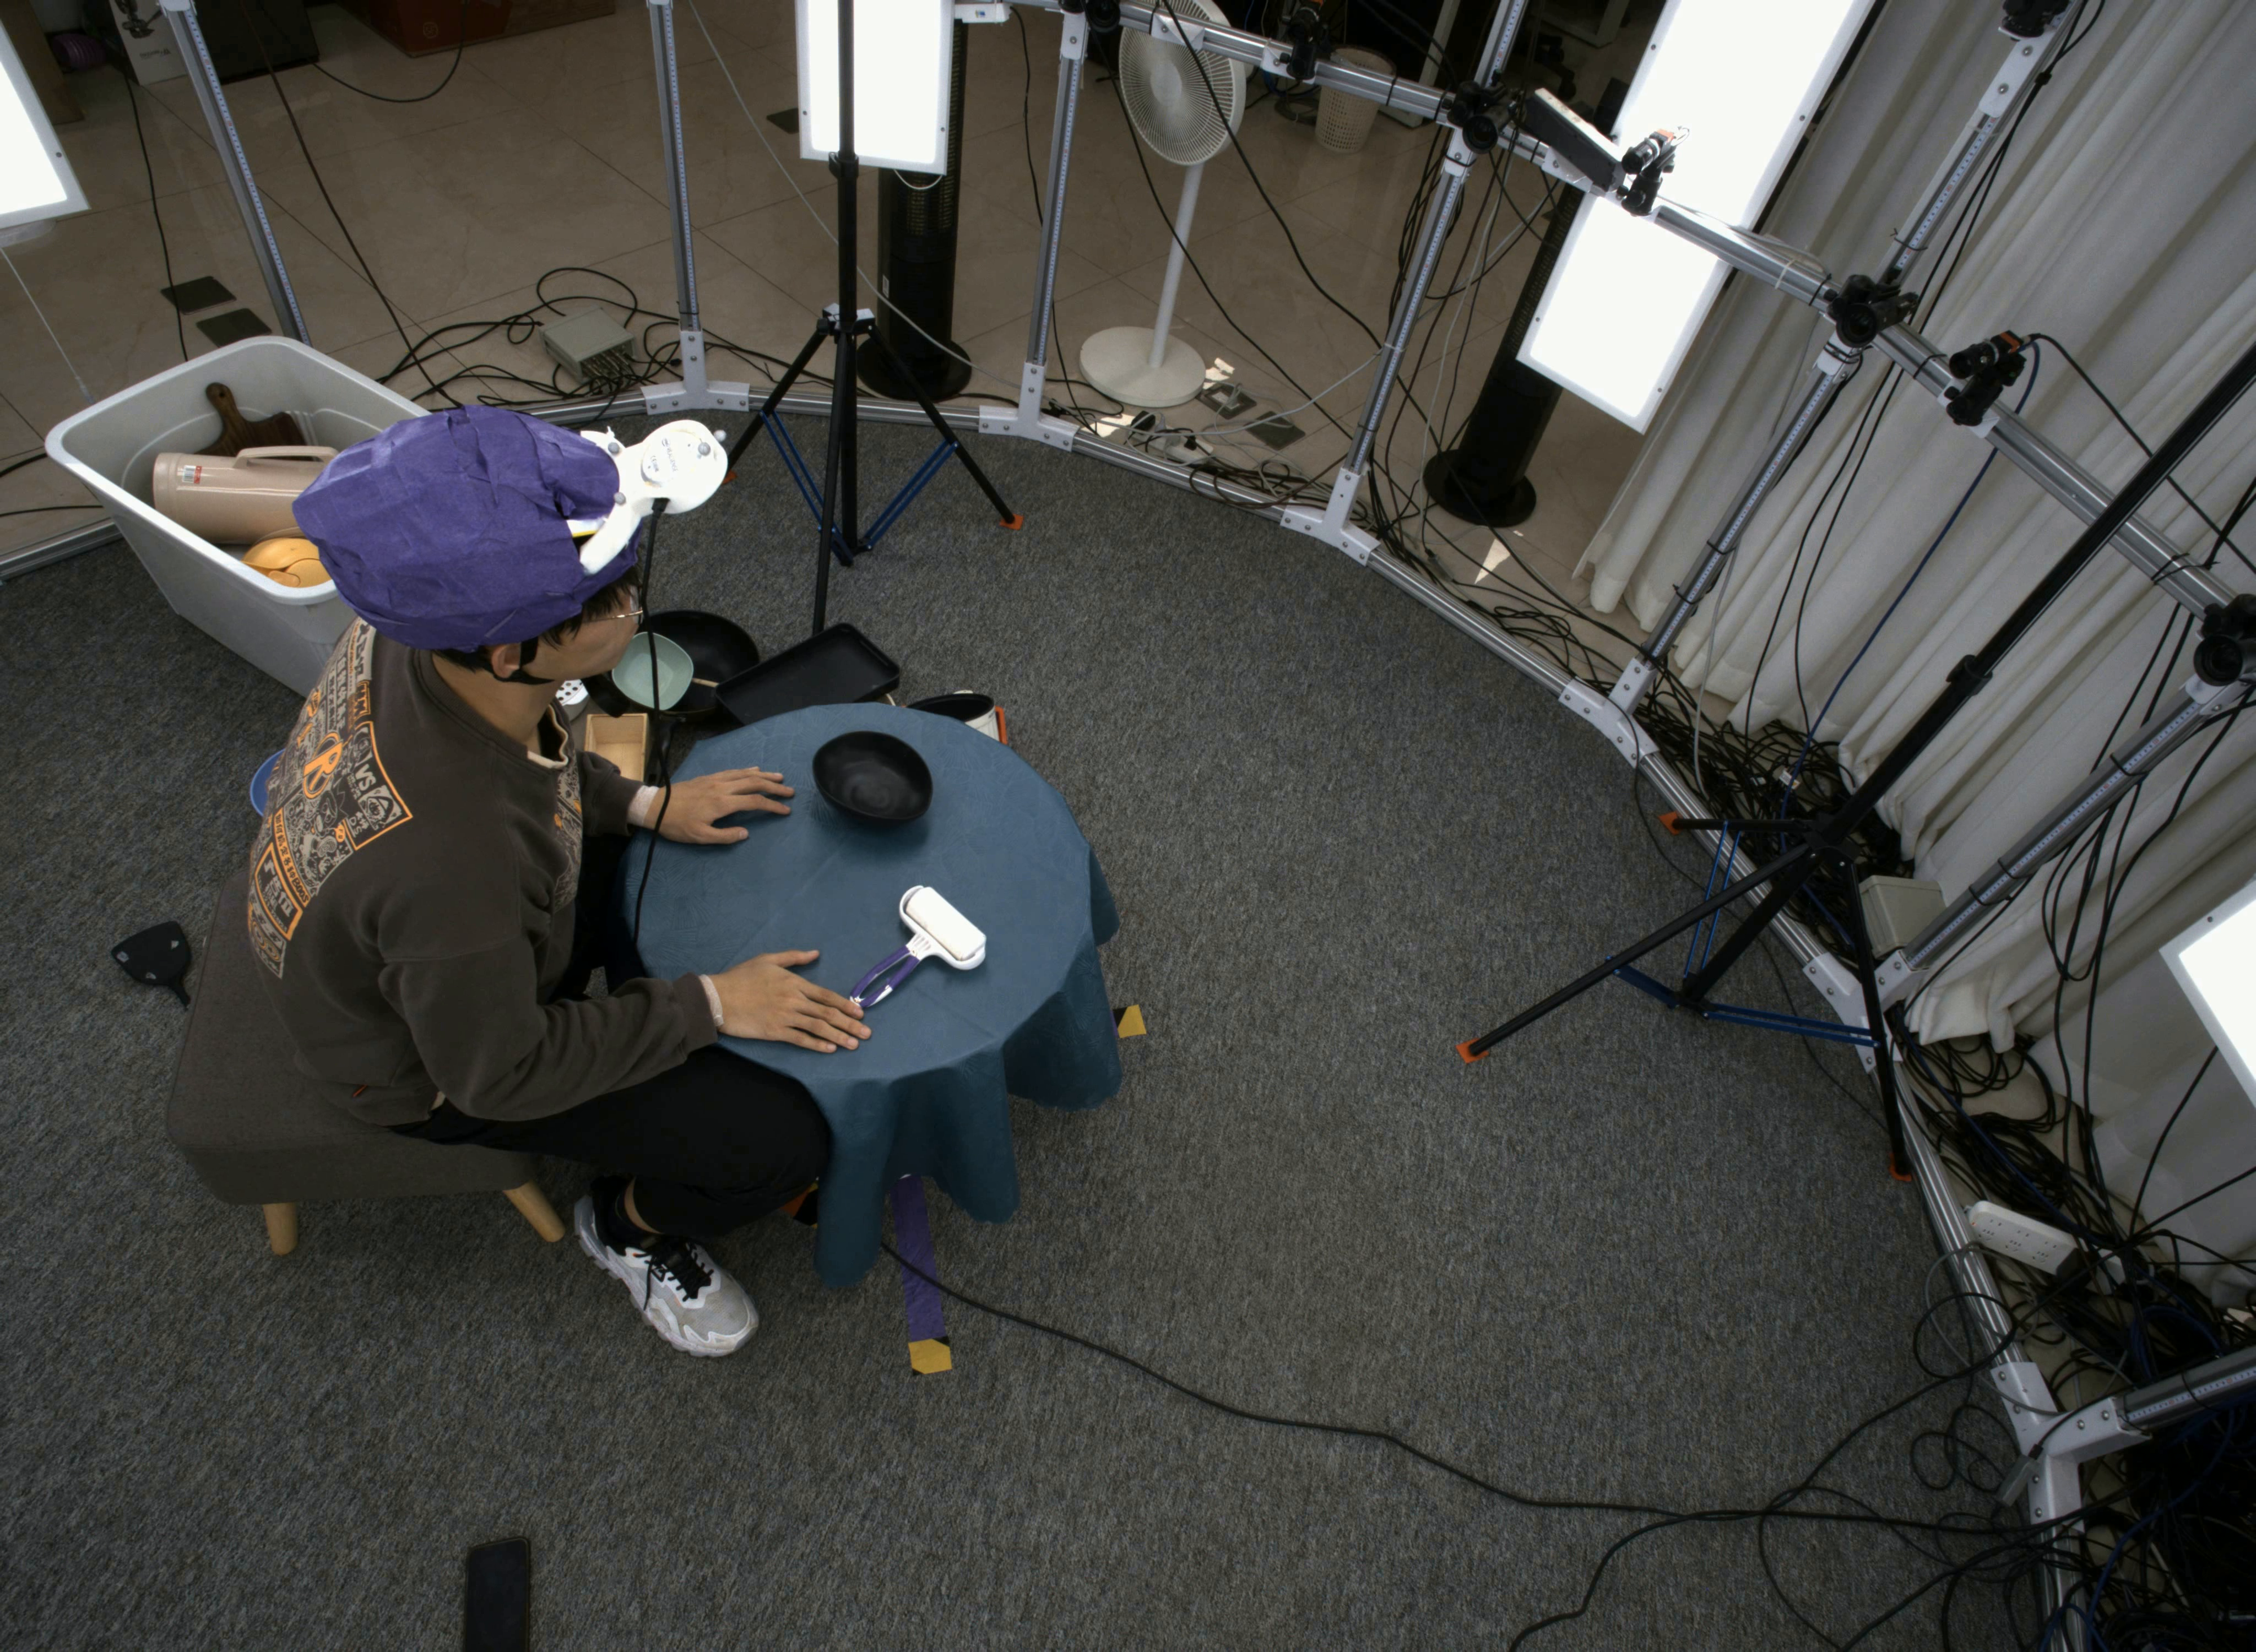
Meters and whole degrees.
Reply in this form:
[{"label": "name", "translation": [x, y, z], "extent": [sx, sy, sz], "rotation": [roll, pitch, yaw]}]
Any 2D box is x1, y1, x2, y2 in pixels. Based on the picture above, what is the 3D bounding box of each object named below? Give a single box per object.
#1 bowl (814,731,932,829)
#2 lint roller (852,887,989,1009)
[{"label": "bowl", "translation": [-0.343, -0.052, 1.756], "extent": [0.168, 0.068, 0.136], "rotation": [28, 54, 6]}, {"label": "lint roller", "translation": [-0.276, 0.159, 1.628], "extent": [0.130, 0.051, 0.181], "rotation": [42, 53, 17]}]
